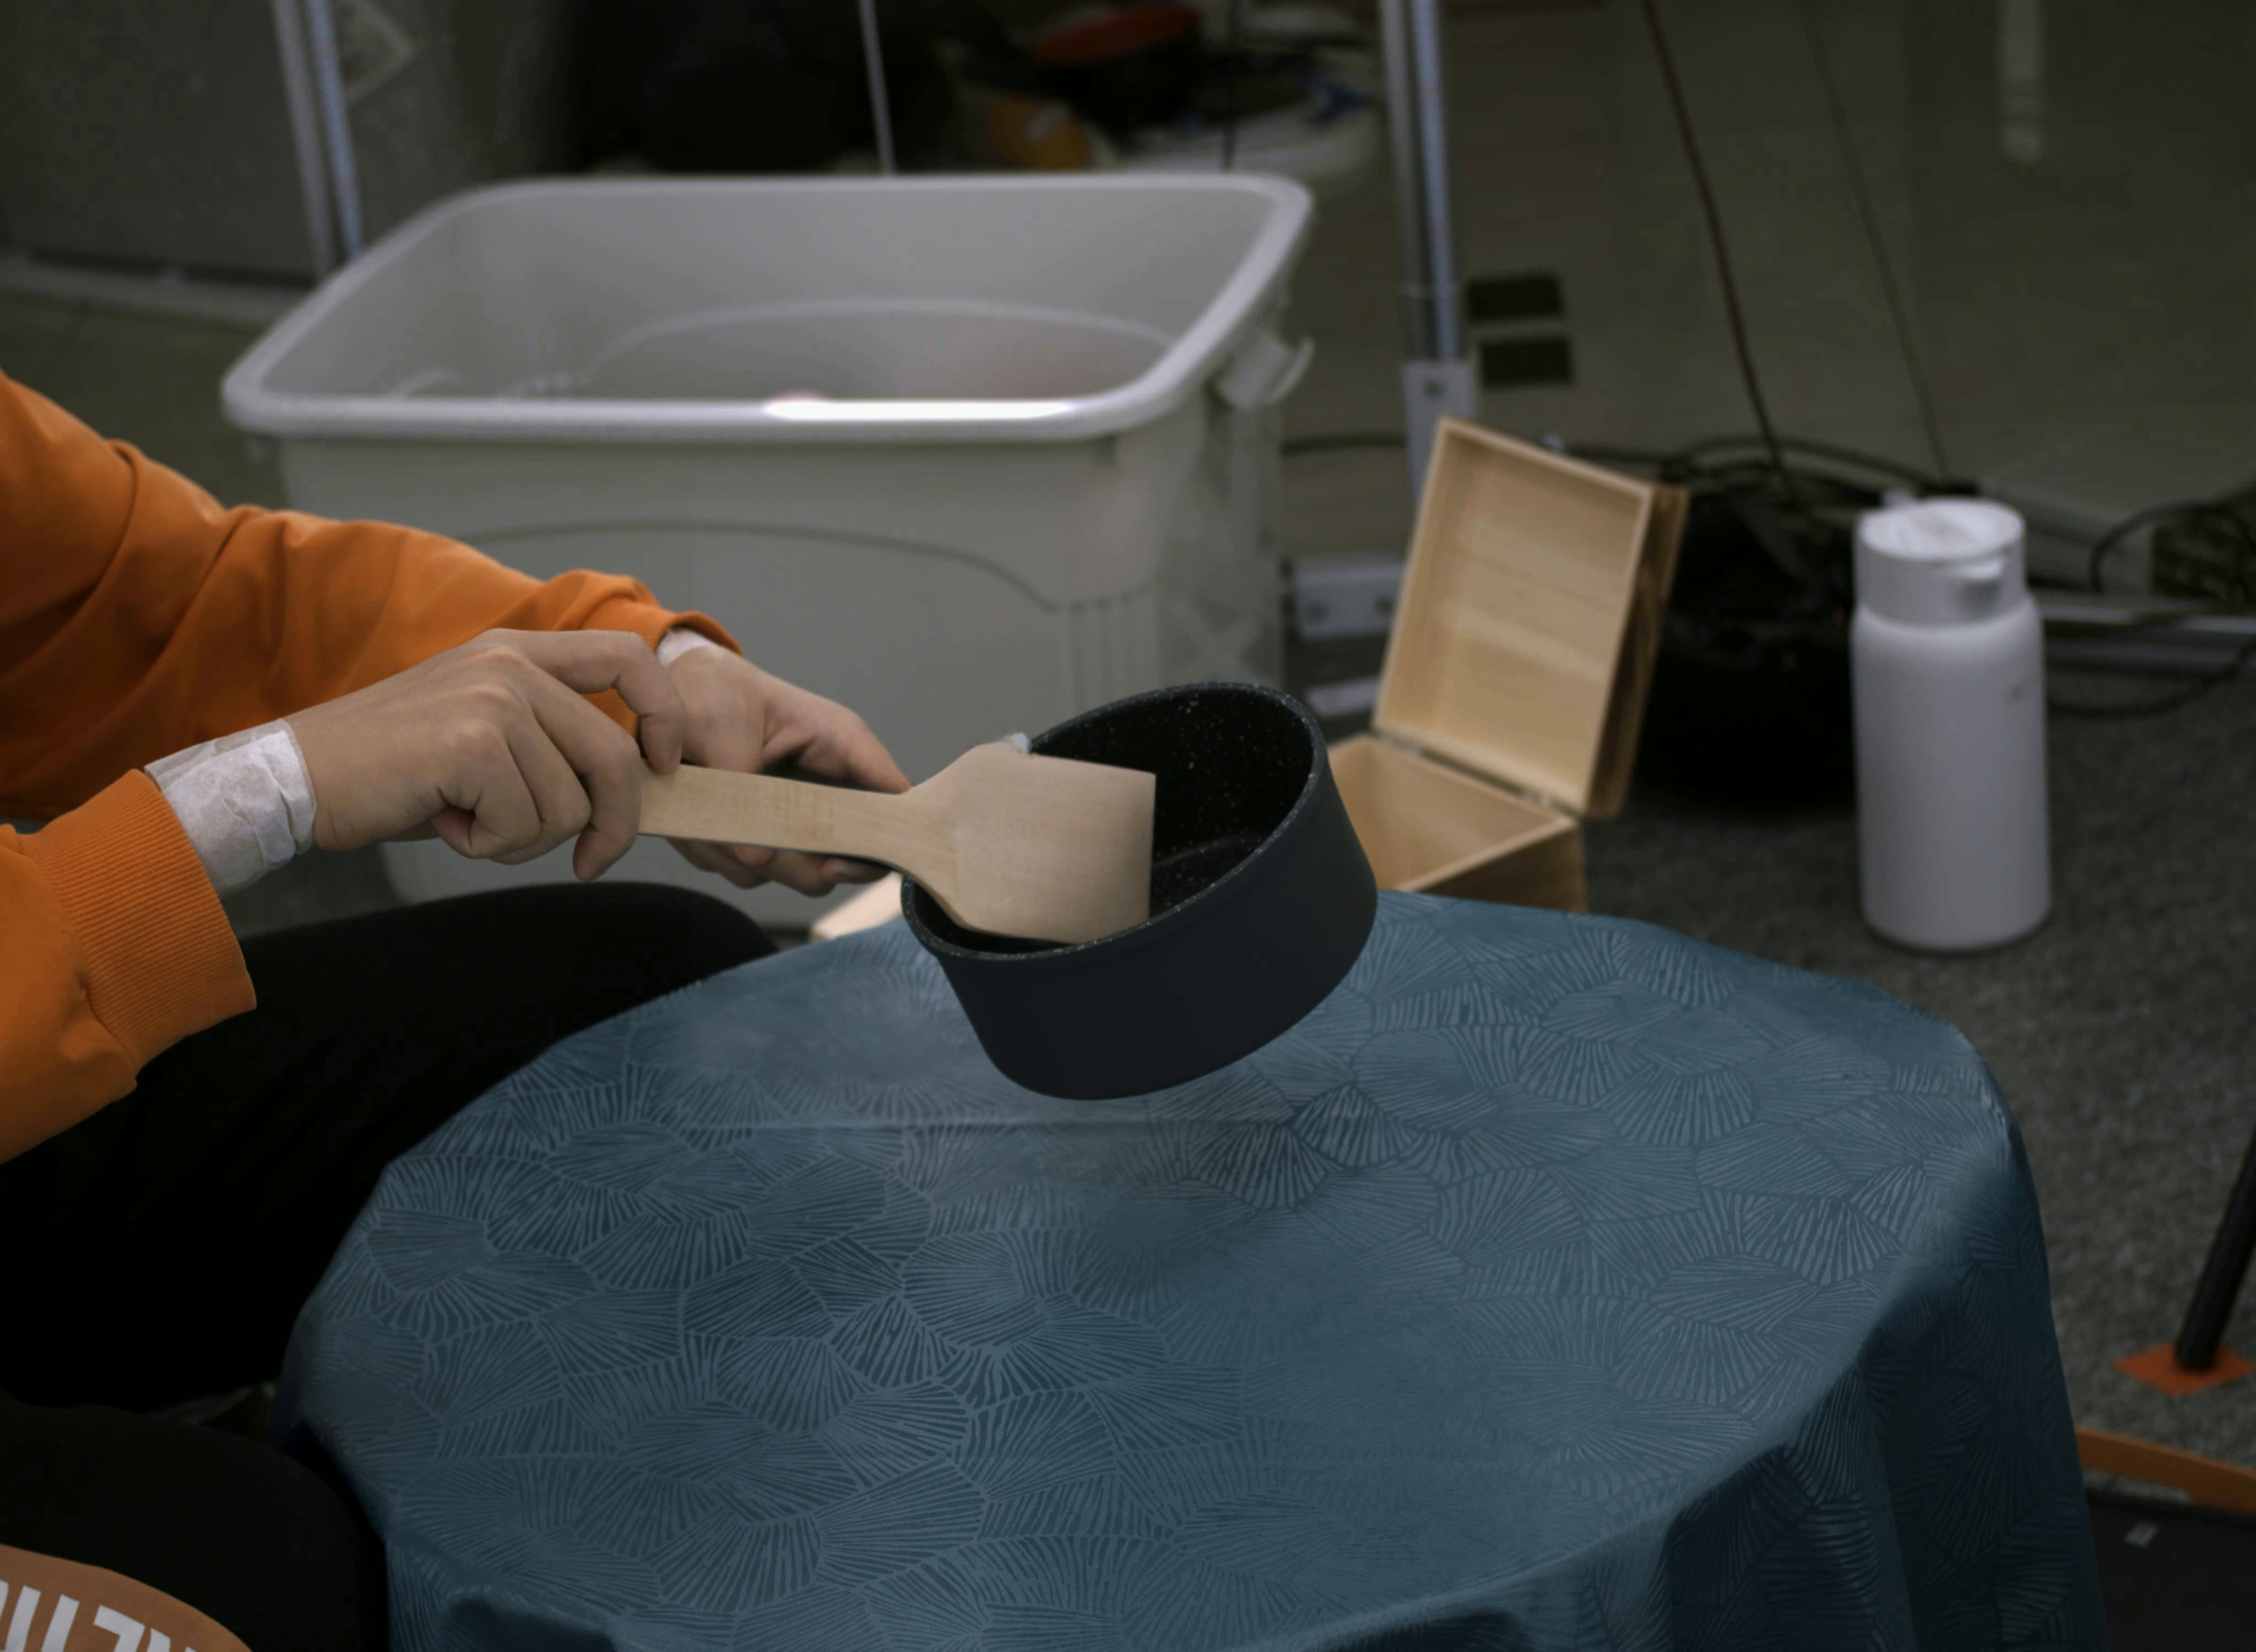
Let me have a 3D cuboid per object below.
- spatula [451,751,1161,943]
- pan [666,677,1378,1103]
[{"bbox_3d":[-0.112,-0.001,2.060,0.293,0.072,0.010,7,-6,-31],"label":"spatula"},{"bbox_3d":[-0.051,0.016,2.190,0.327,0.088,0.170,10,44,44],"label":"pan"}]
